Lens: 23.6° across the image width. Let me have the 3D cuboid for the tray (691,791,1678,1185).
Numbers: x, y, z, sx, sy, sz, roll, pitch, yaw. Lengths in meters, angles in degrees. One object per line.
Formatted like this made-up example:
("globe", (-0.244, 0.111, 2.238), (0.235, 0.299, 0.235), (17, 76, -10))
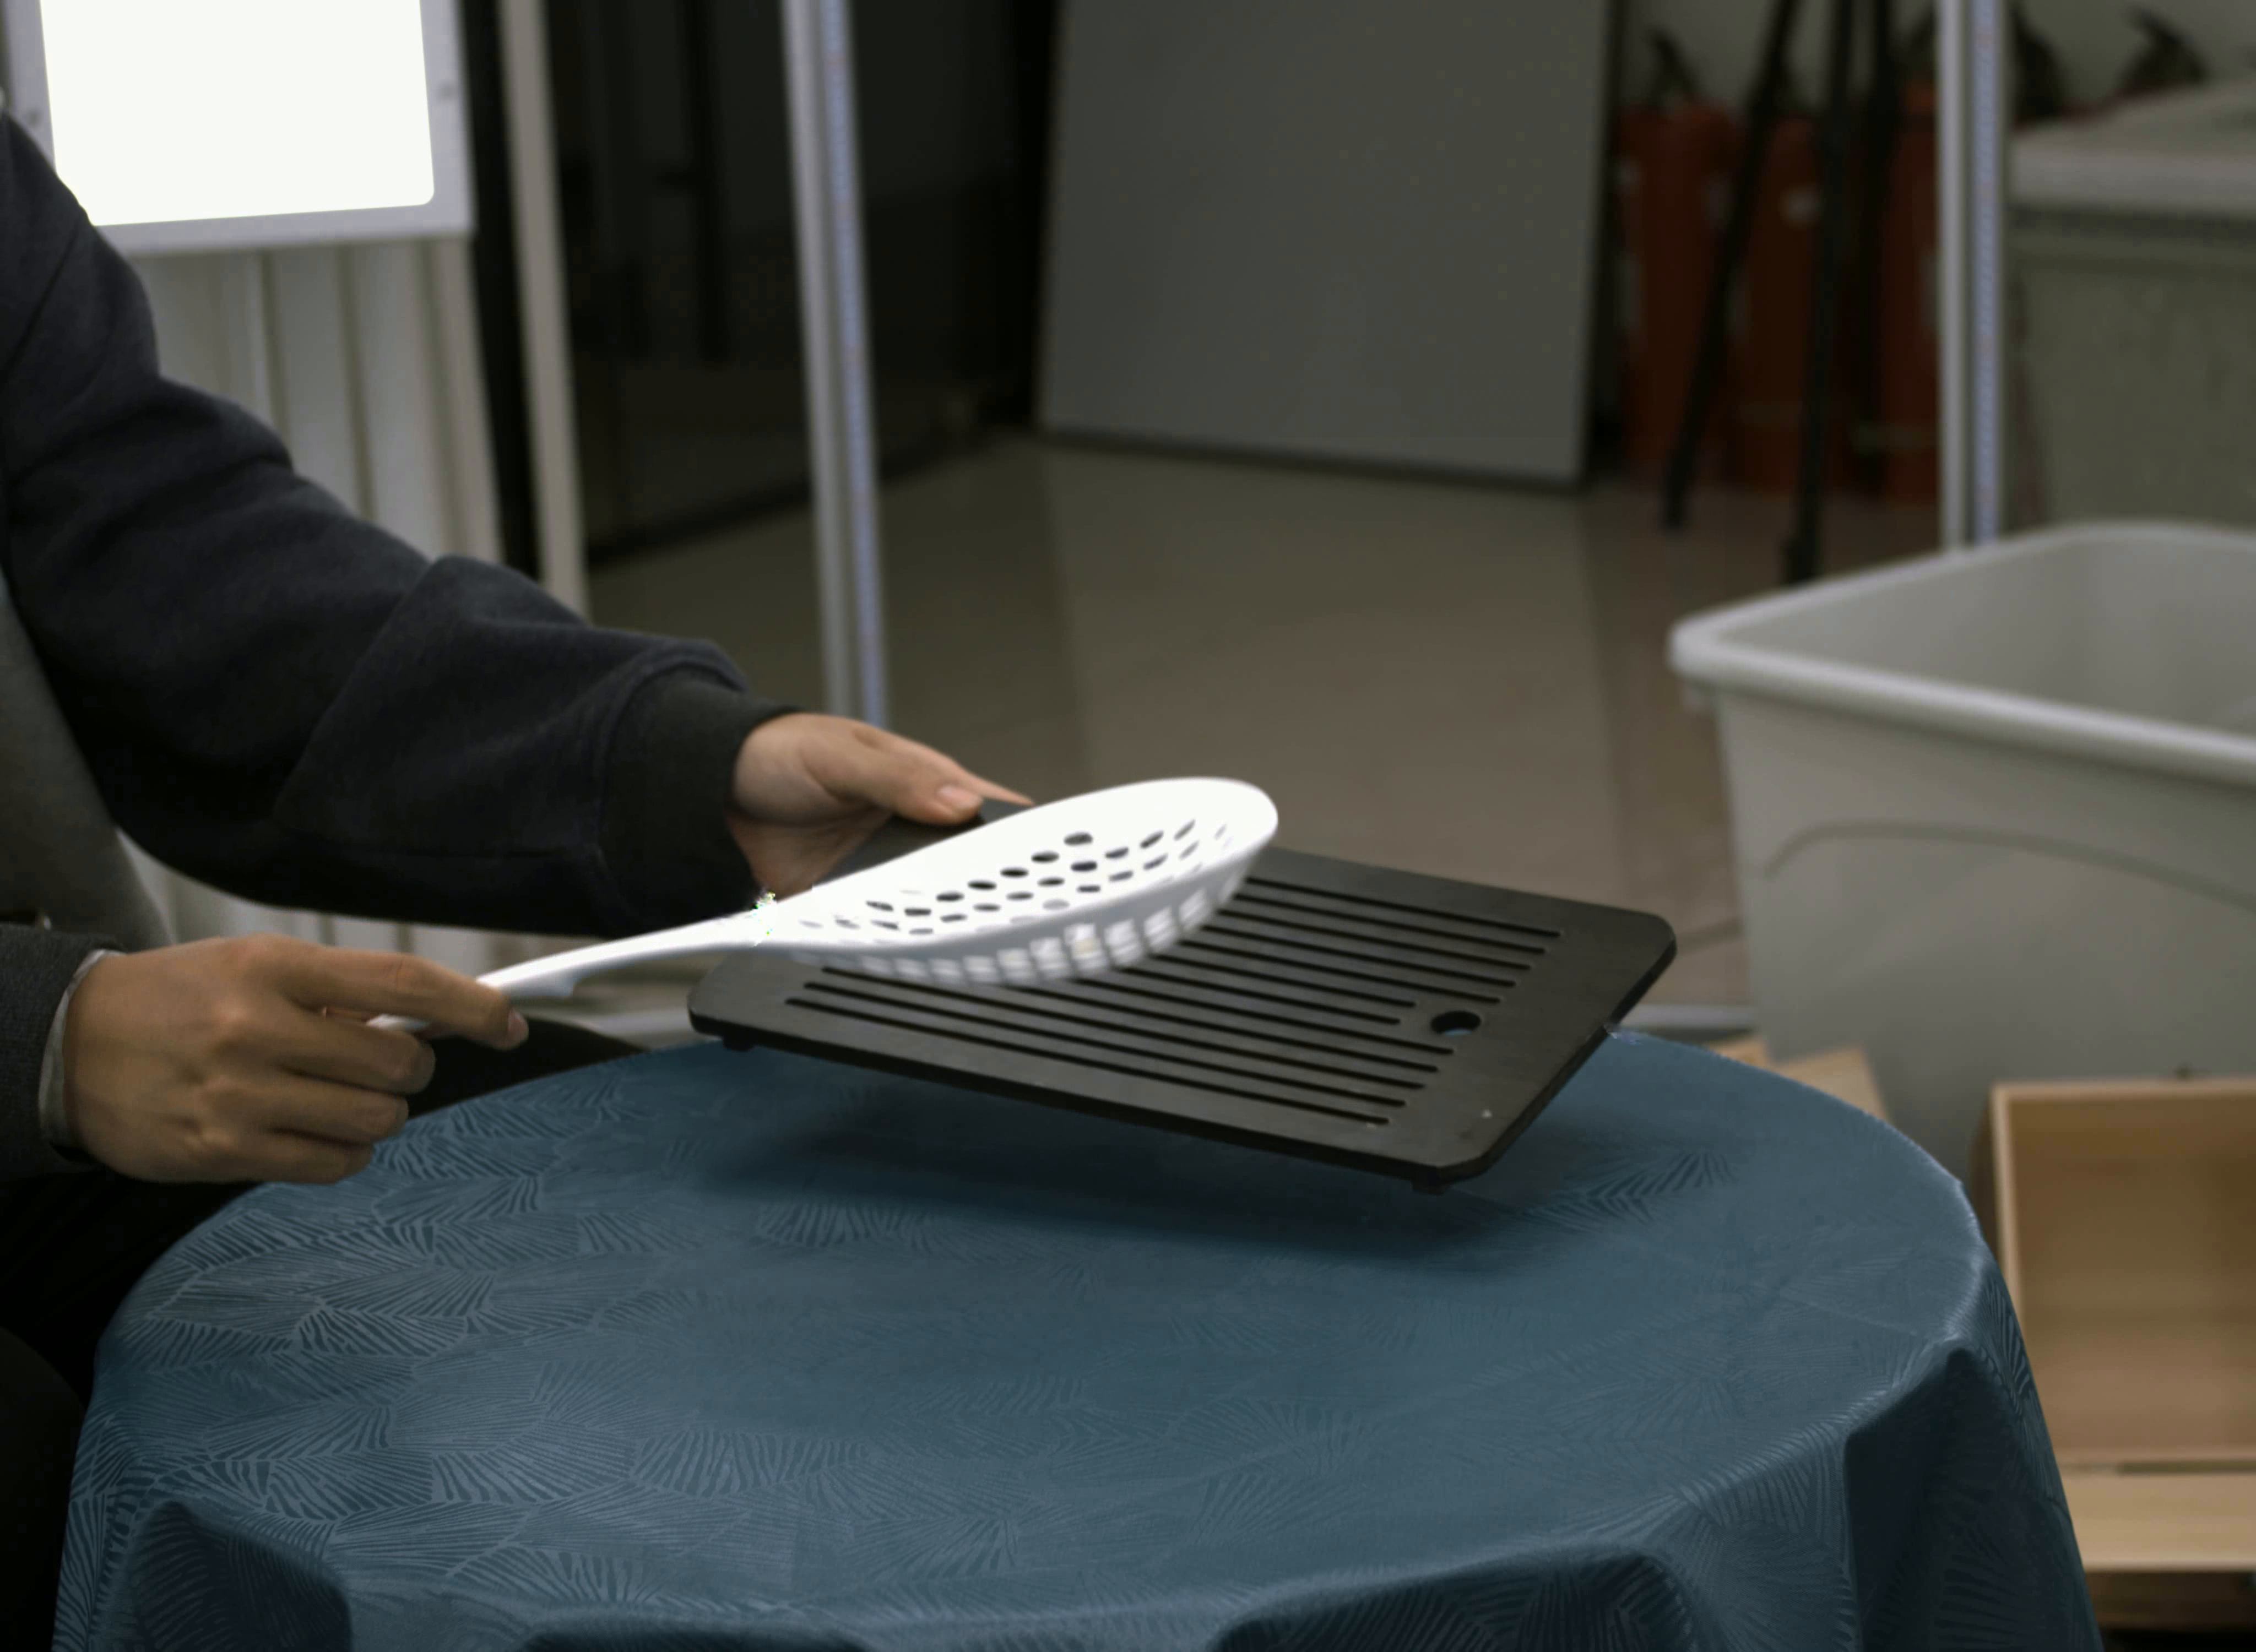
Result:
("tray", (0.018, 0.052, 1.814), (0.307, 0.019, 0.168), (9, 32, 30))

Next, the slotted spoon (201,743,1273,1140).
("slotted spoon", (-0.120, 0.038, 1.666), (0.344, 0.051, 0.137), (-11, 13, 1))
